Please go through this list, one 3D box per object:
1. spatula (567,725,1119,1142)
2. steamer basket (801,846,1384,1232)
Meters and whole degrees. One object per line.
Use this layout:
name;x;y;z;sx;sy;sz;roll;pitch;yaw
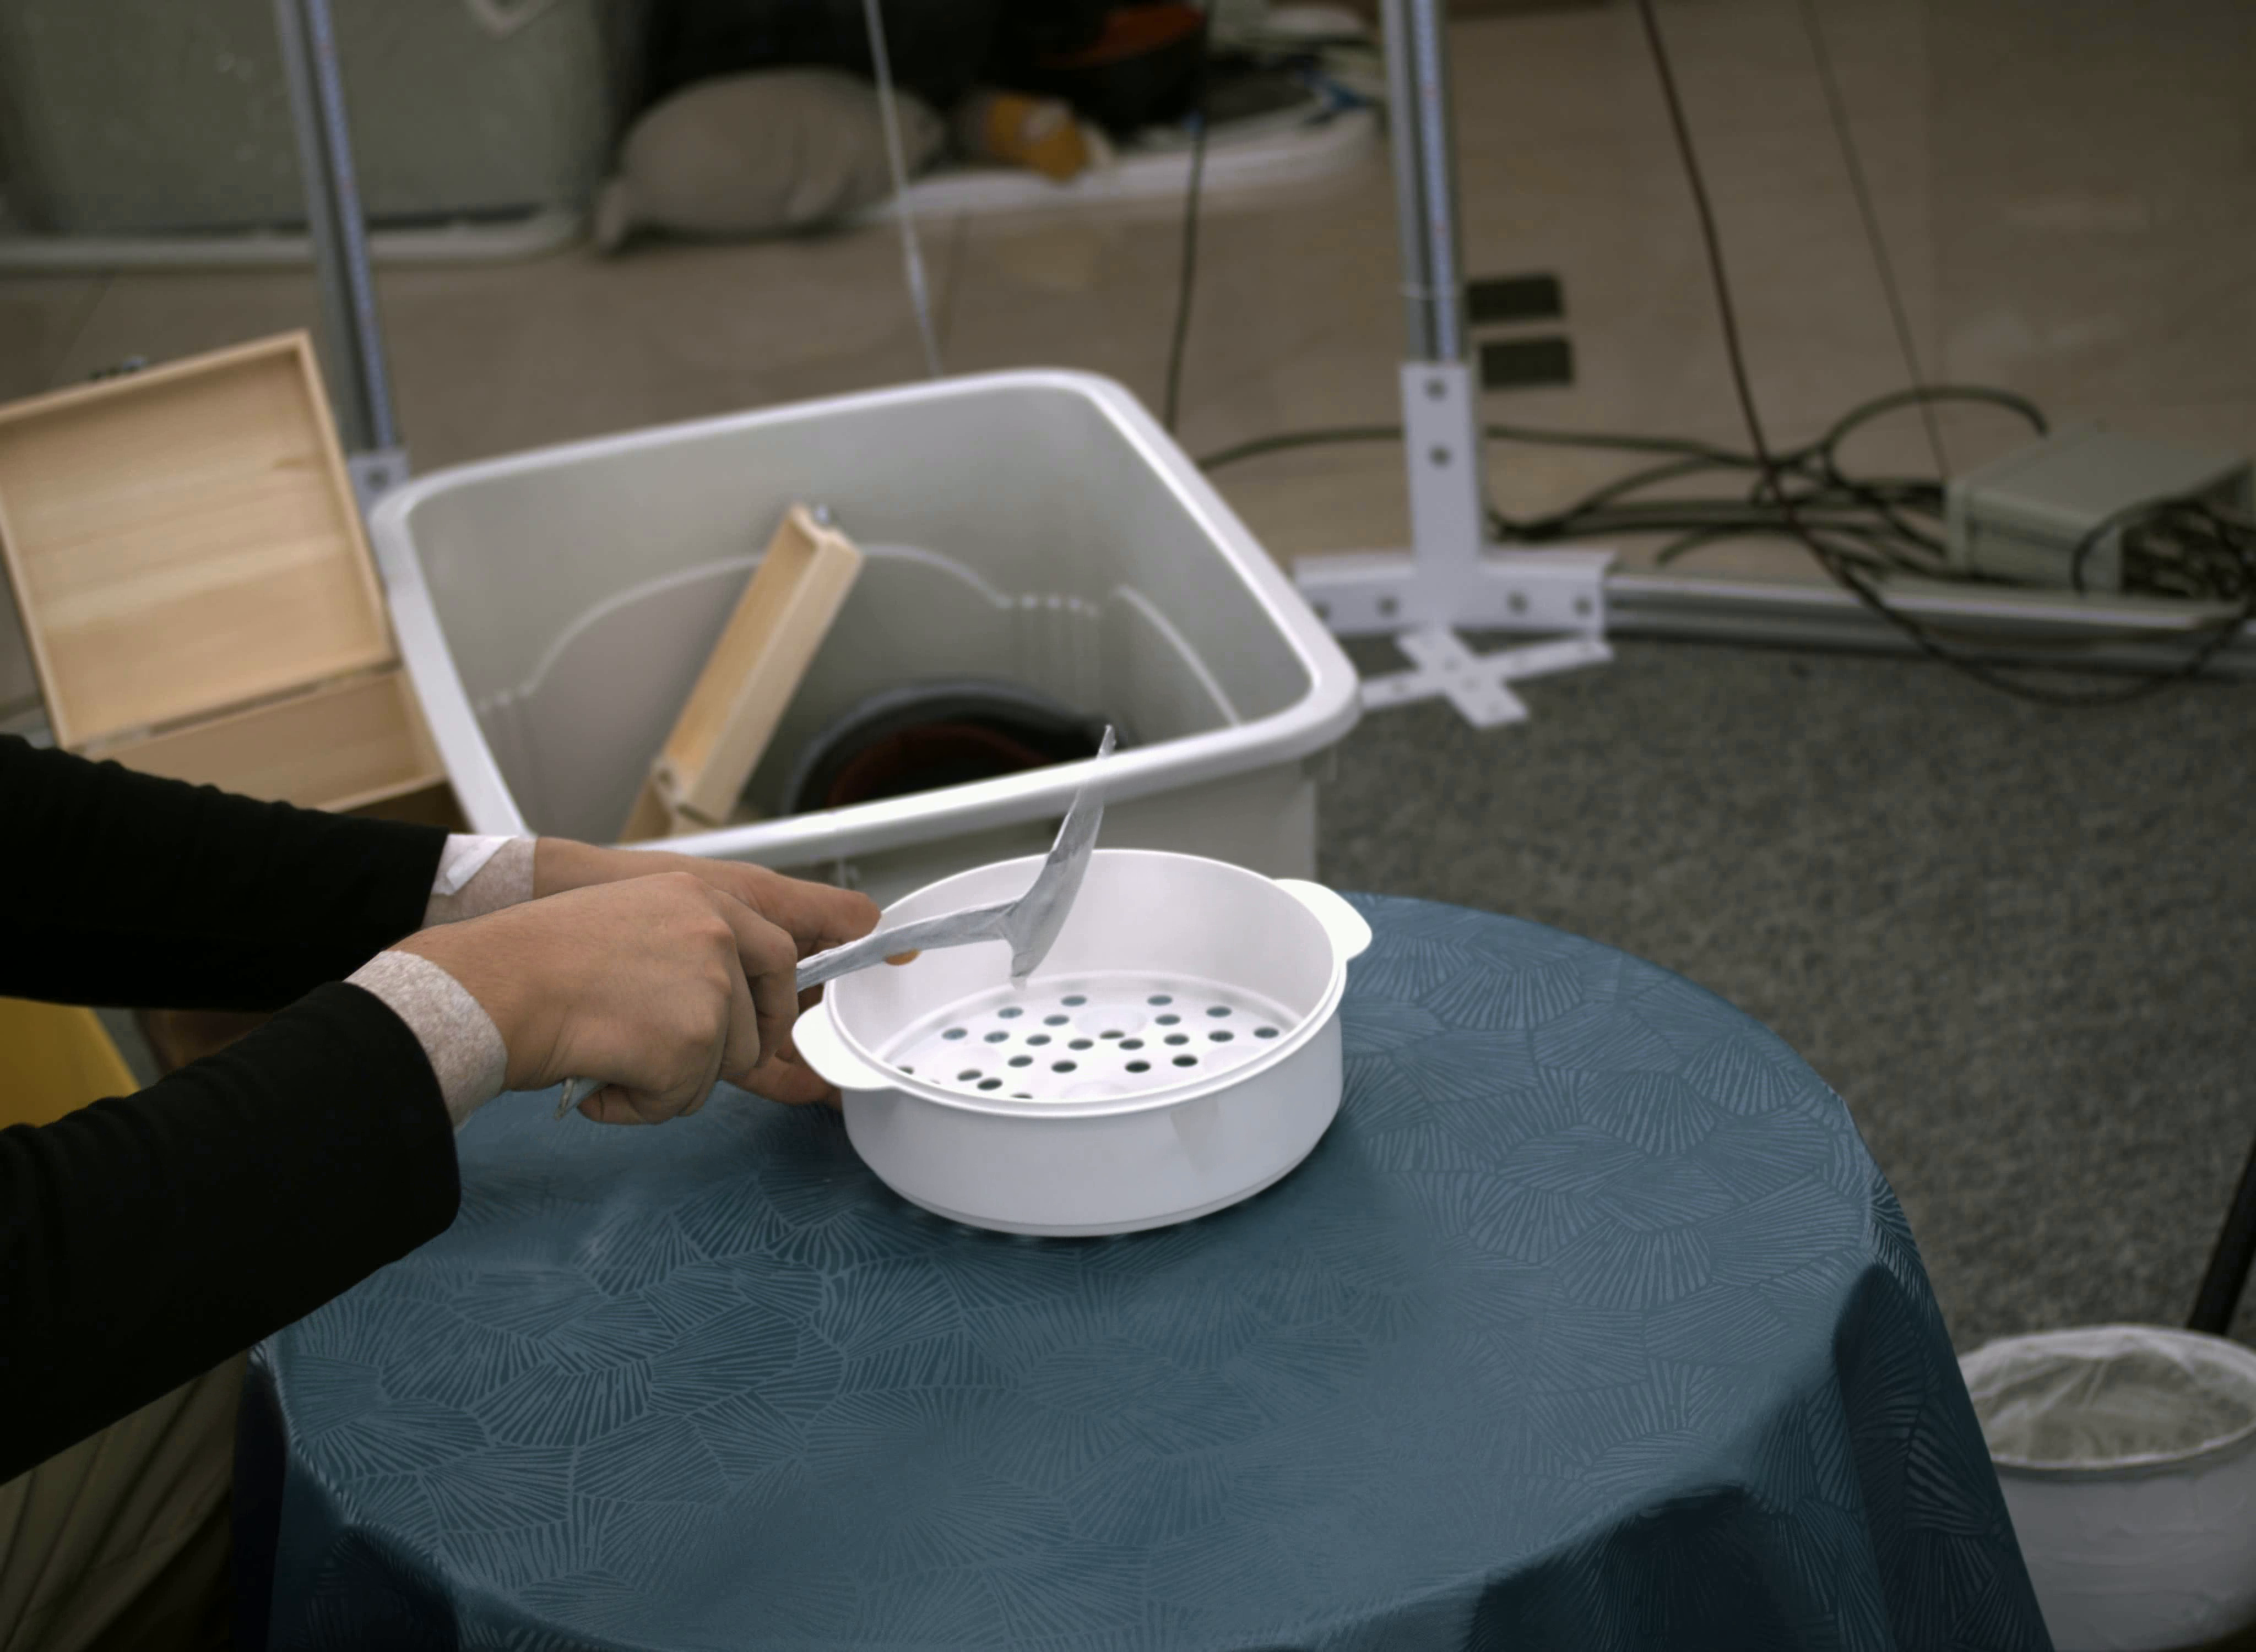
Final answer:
spatula;-0.099;0.046;2.043;0.044;0.100;0.362;34;30;23
steamer basket;-0.010;0.082;2.178;0.229;0.070;0.199;-15;29;-18
